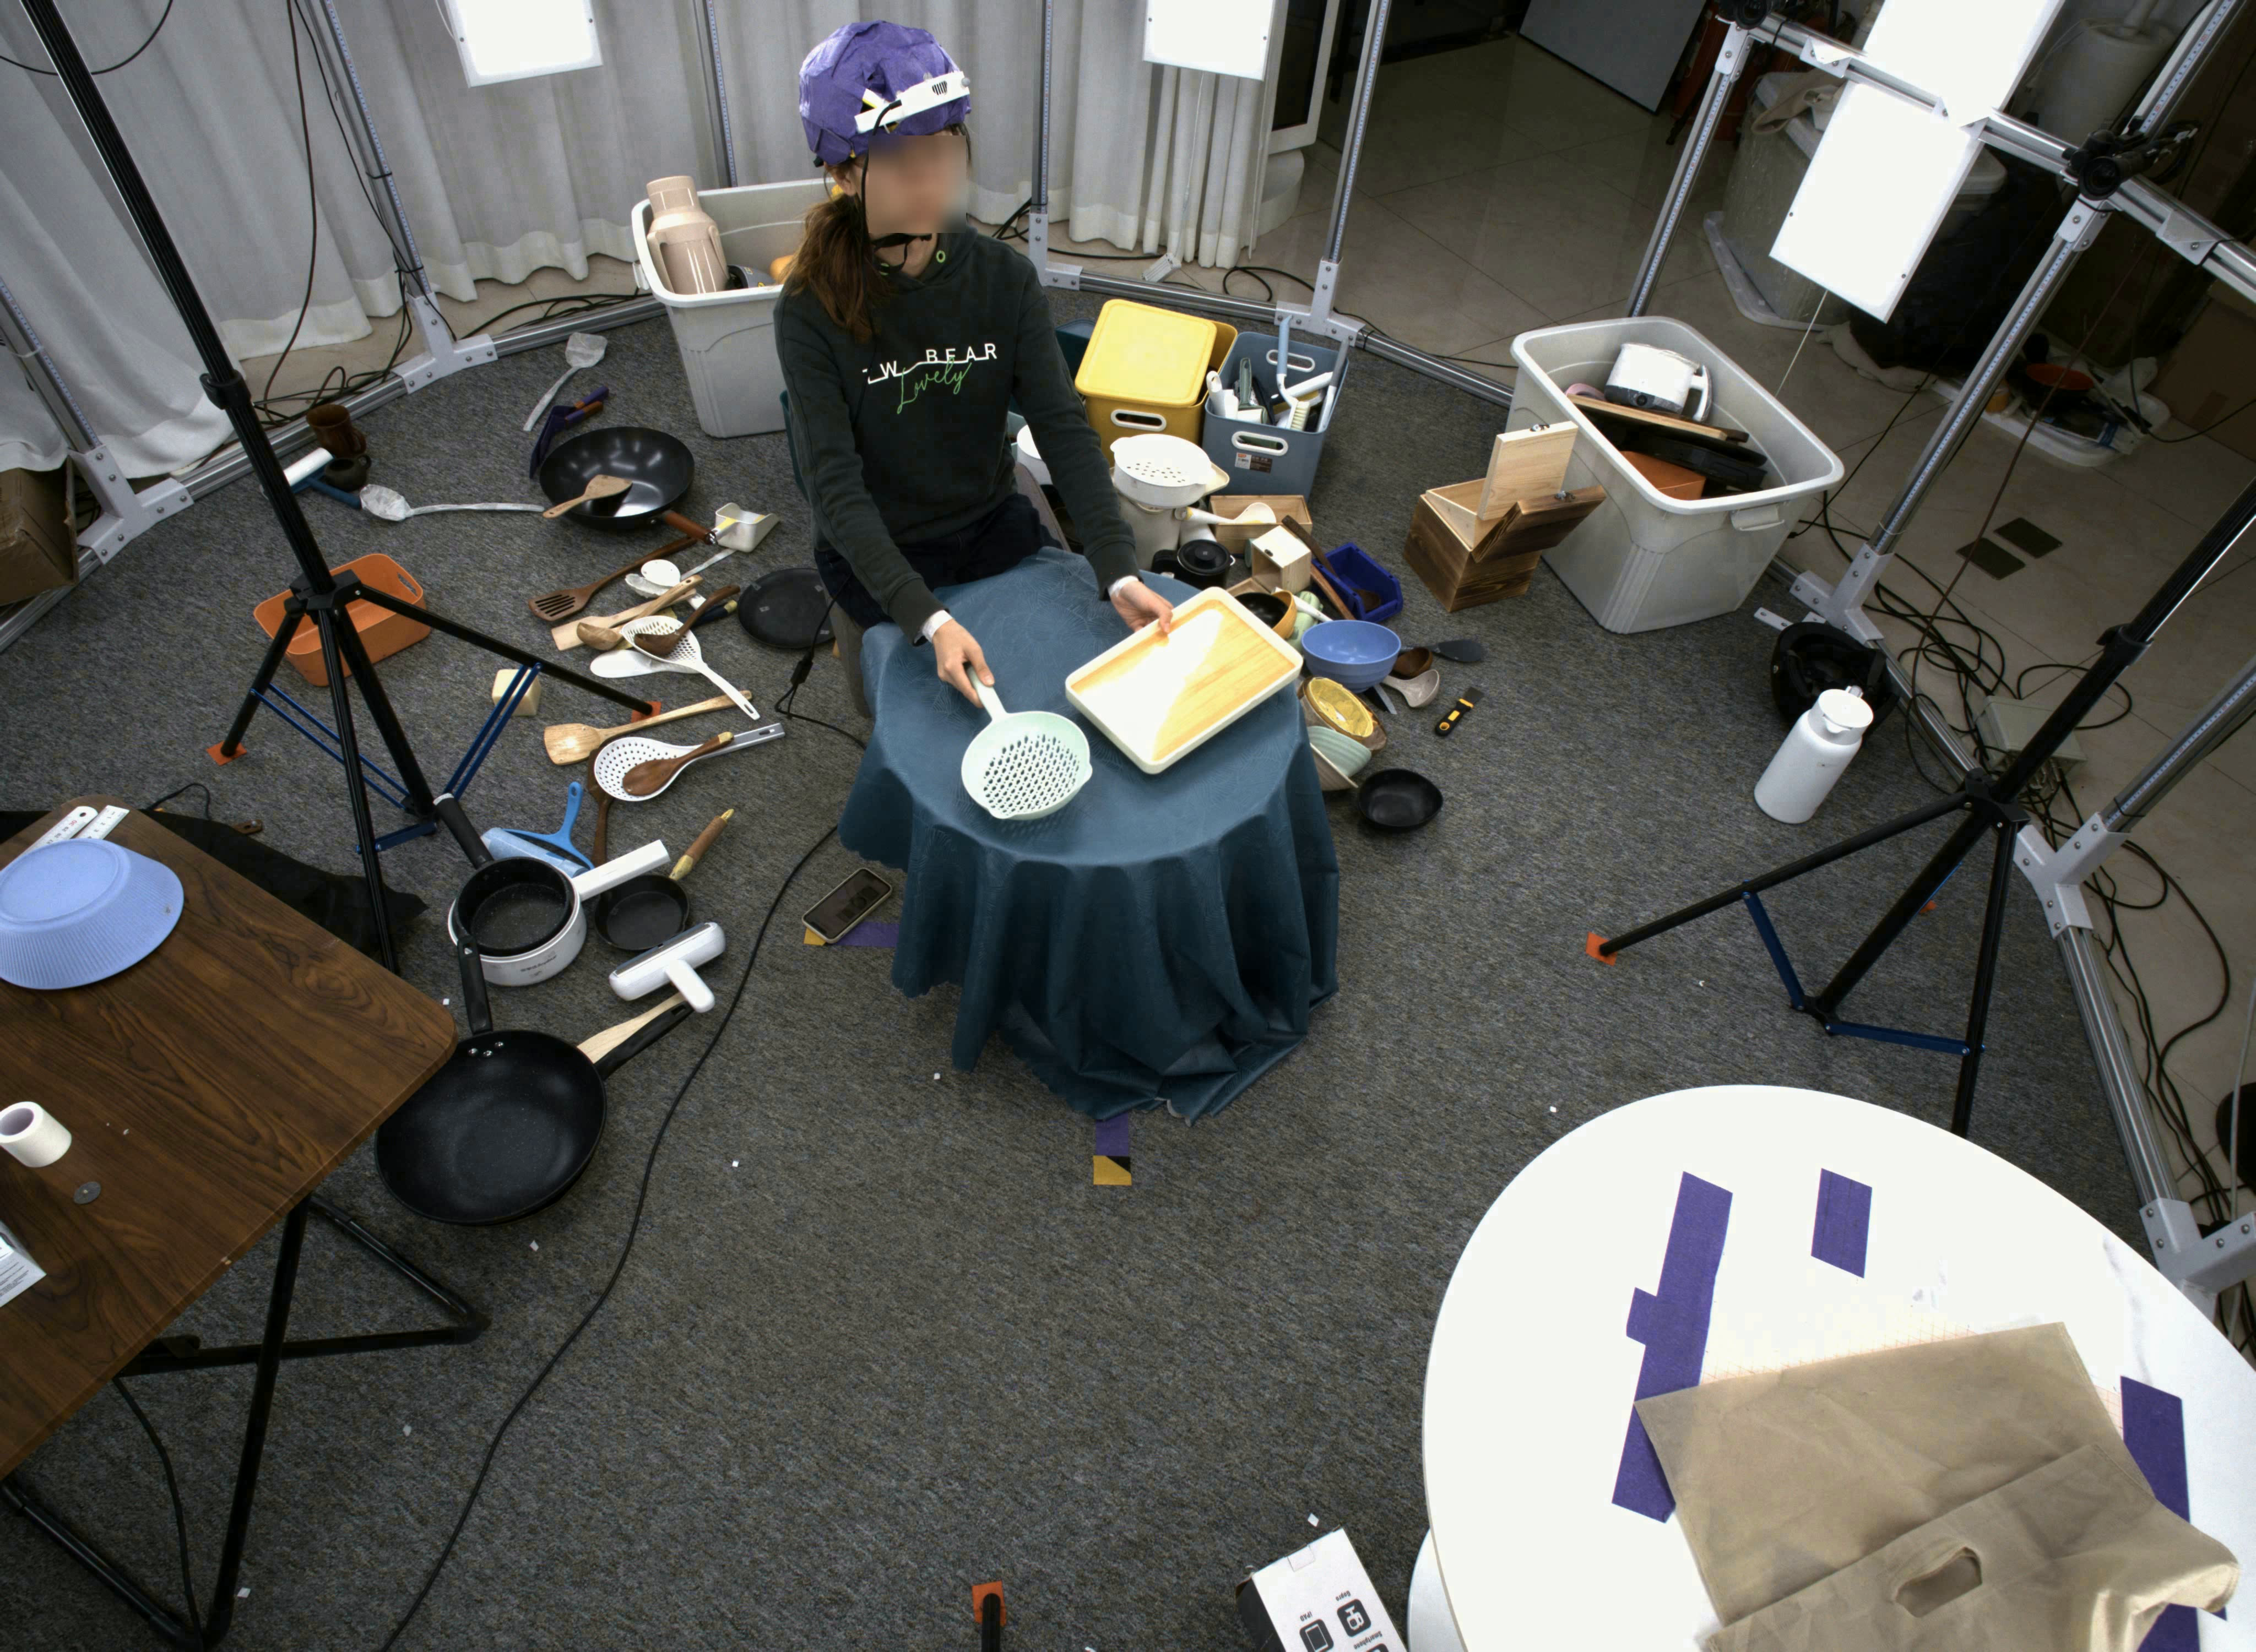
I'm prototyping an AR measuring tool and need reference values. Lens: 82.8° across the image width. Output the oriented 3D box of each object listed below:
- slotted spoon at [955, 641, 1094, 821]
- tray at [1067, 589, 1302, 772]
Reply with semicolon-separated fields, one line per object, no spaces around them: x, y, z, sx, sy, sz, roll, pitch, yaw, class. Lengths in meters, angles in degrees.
-0.170;-0.144;1.741;0.169;0.073;0.366;-24;59;-8;slotted spoon
0.080;-0.210;1.806;0.302;0.027;0.194;-34;64;-26;tray
